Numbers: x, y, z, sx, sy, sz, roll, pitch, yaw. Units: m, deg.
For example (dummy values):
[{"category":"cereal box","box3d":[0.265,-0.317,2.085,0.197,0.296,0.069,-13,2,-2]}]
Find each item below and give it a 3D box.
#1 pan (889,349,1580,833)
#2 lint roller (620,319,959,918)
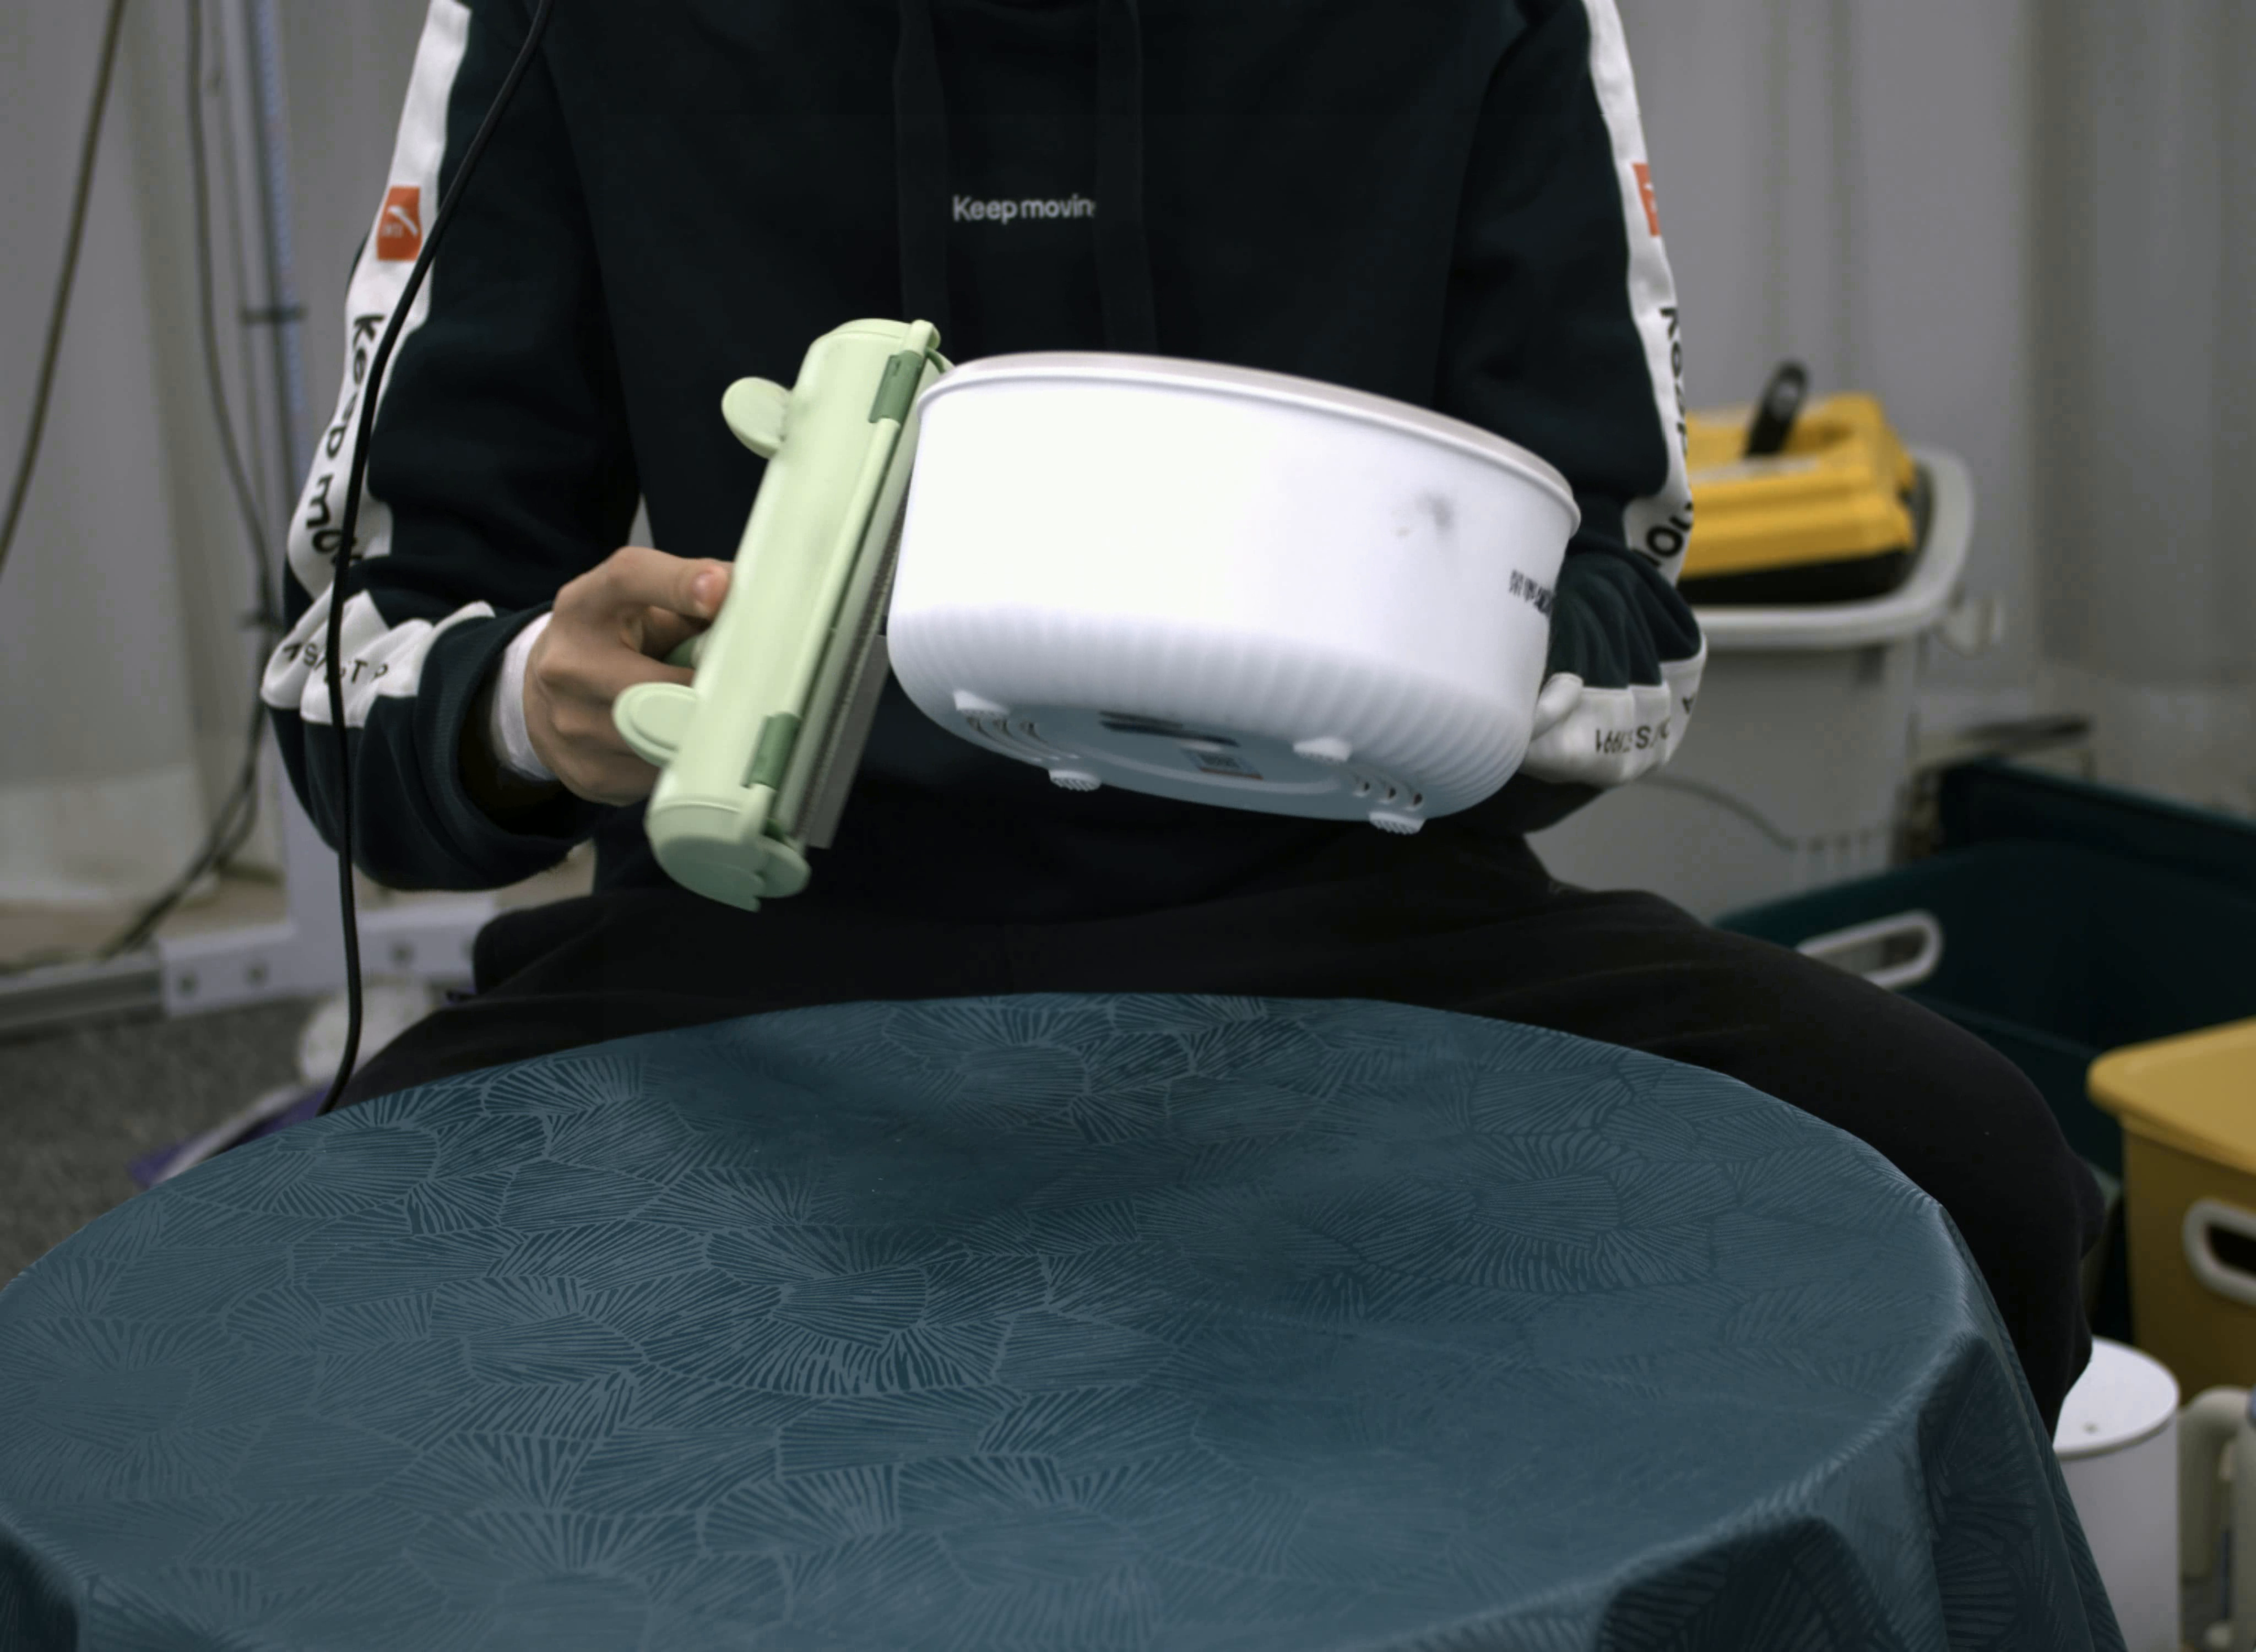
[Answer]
[{"category":"pan","box3d":[0.048,-0.048,1.697,0.201,0.103,0.352,6,-11,16]},{"category":"lint roller","box3d":[-0.138,-0.060,1.795,0.081,0.201,0.183,30,-29,-28]}]
